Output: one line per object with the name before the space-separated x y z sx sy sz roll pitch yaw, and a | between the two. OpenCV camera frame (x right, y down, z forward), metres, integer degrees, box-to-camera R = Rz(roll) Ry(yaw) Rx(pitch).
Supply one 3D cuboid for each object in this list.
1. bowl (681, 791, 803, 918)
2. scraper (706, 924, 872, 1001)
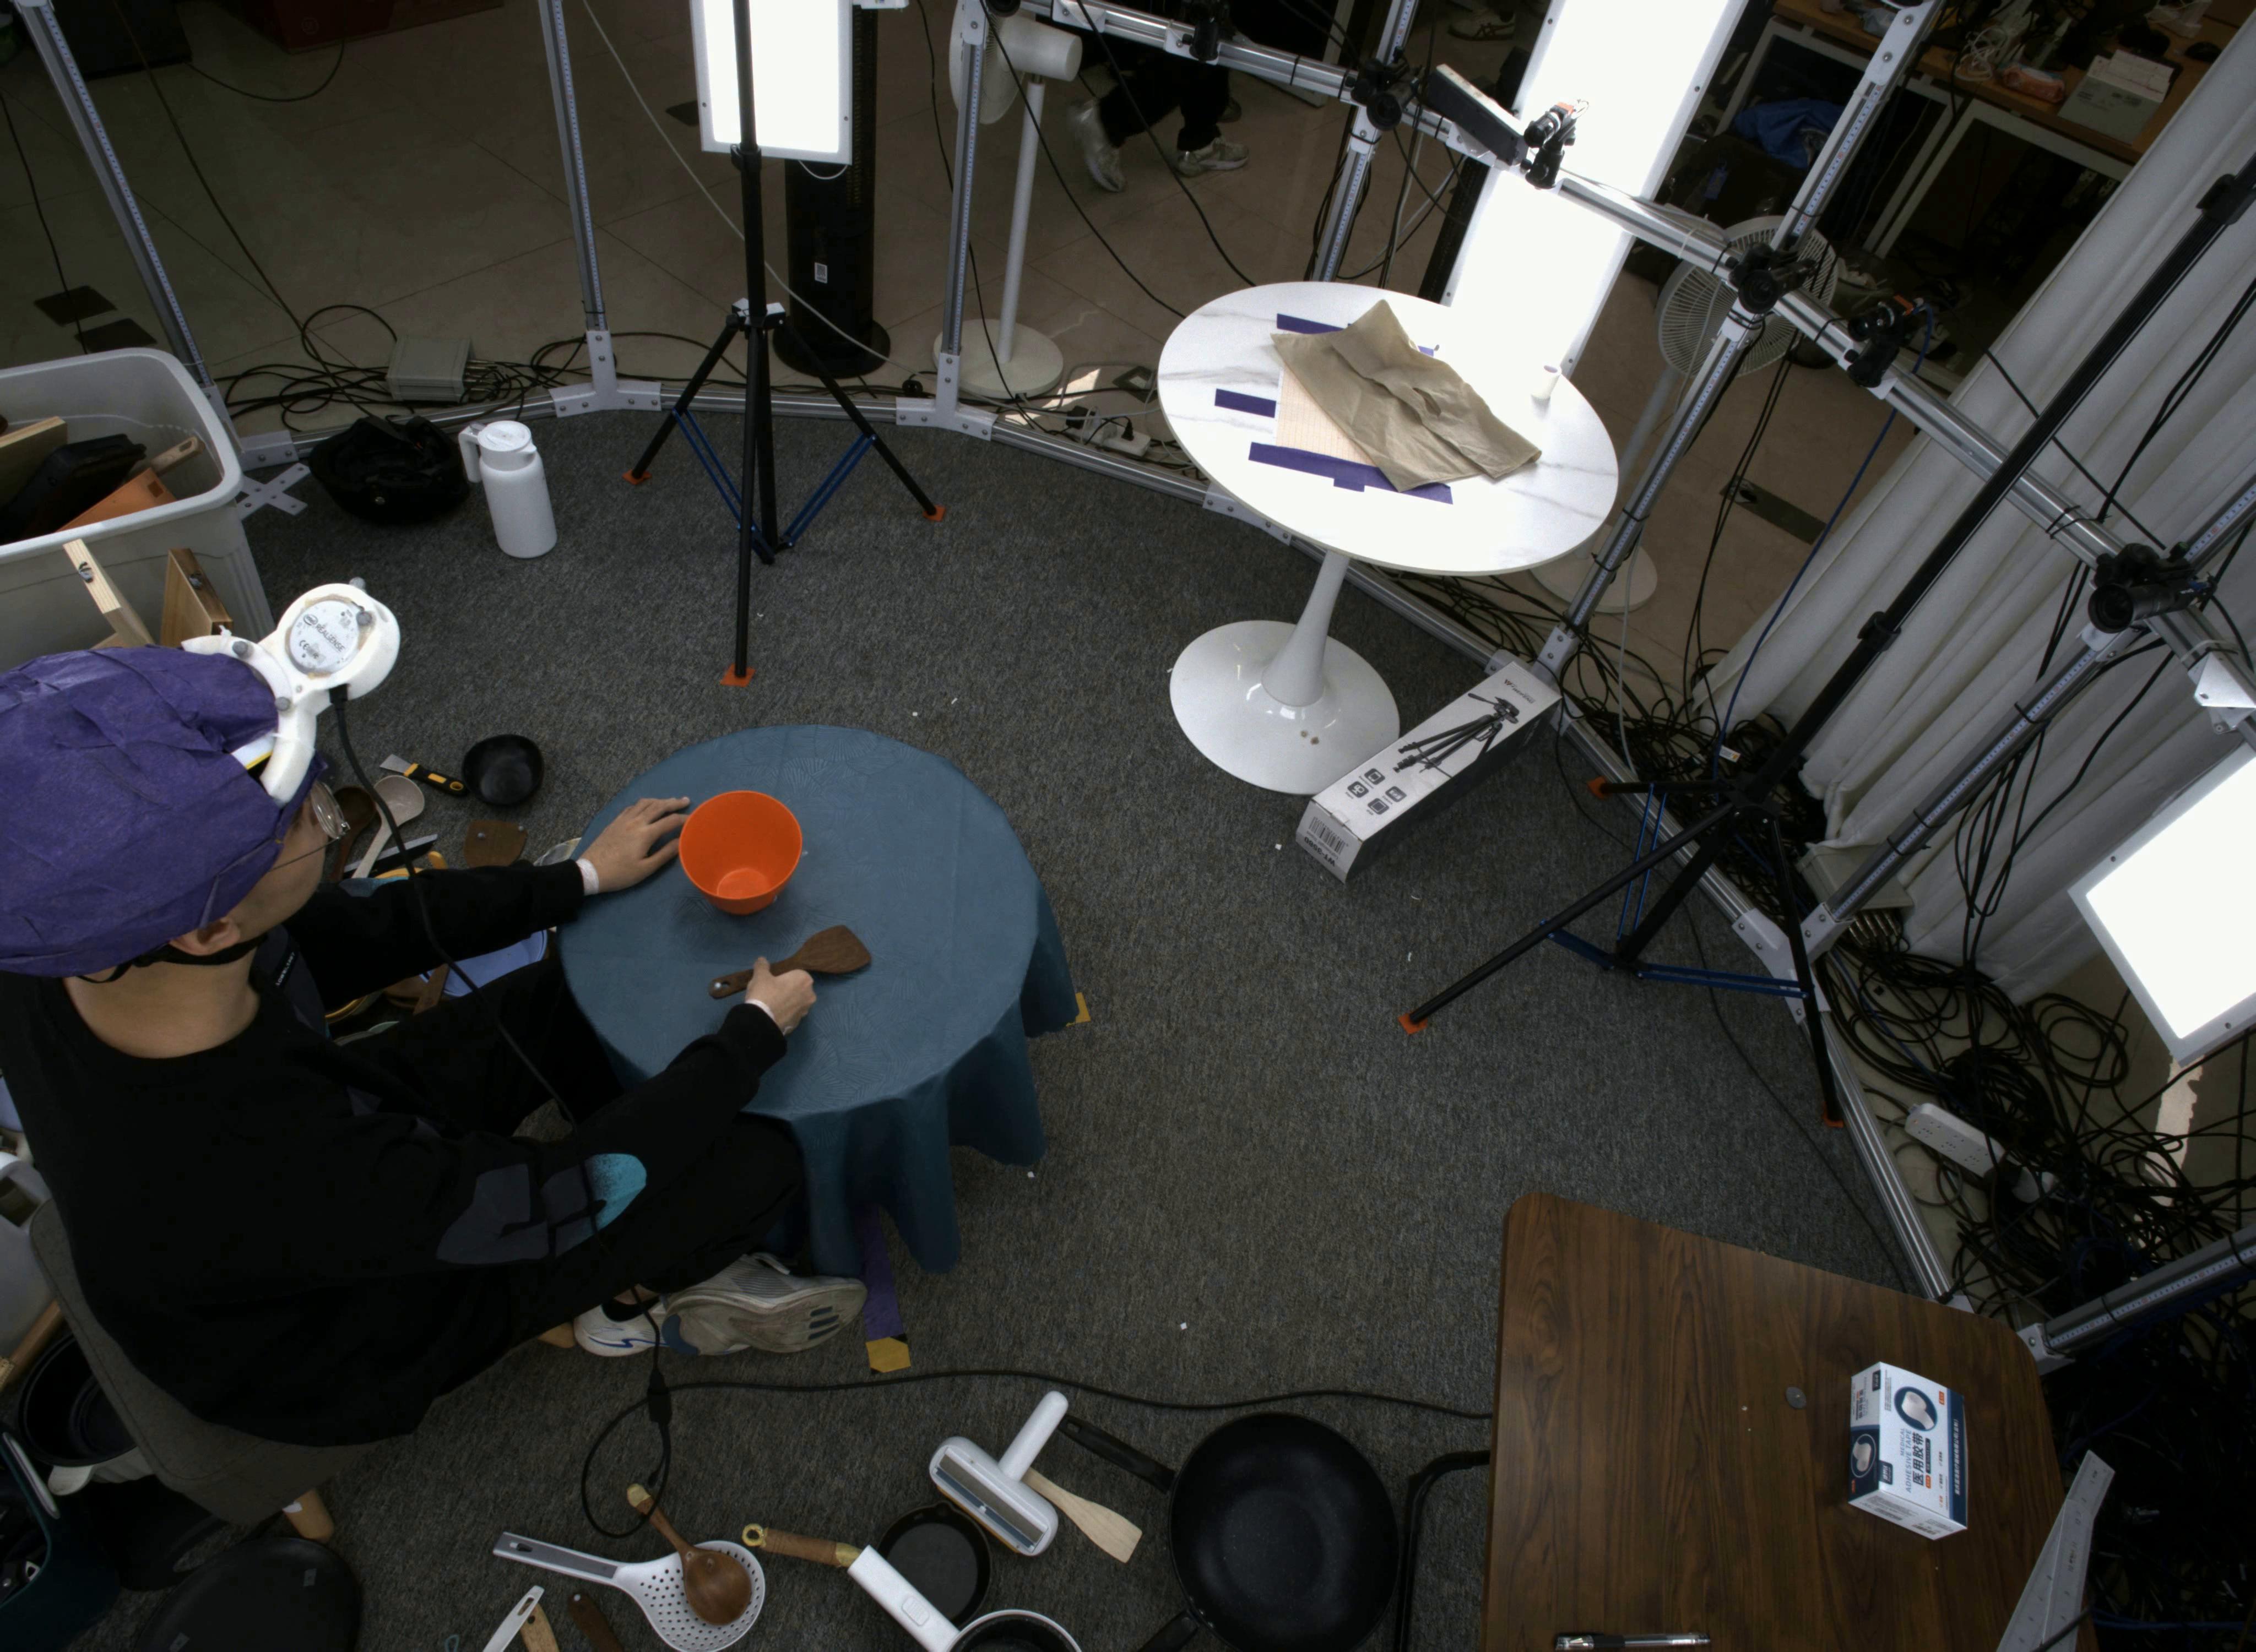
bowl | -0.480 0.046 1.617 0.148 0.107 0.145 7 54 -8
scraper | -0.412 0.169 1.569 0.214 0.011 0.074 -17 54 -44
